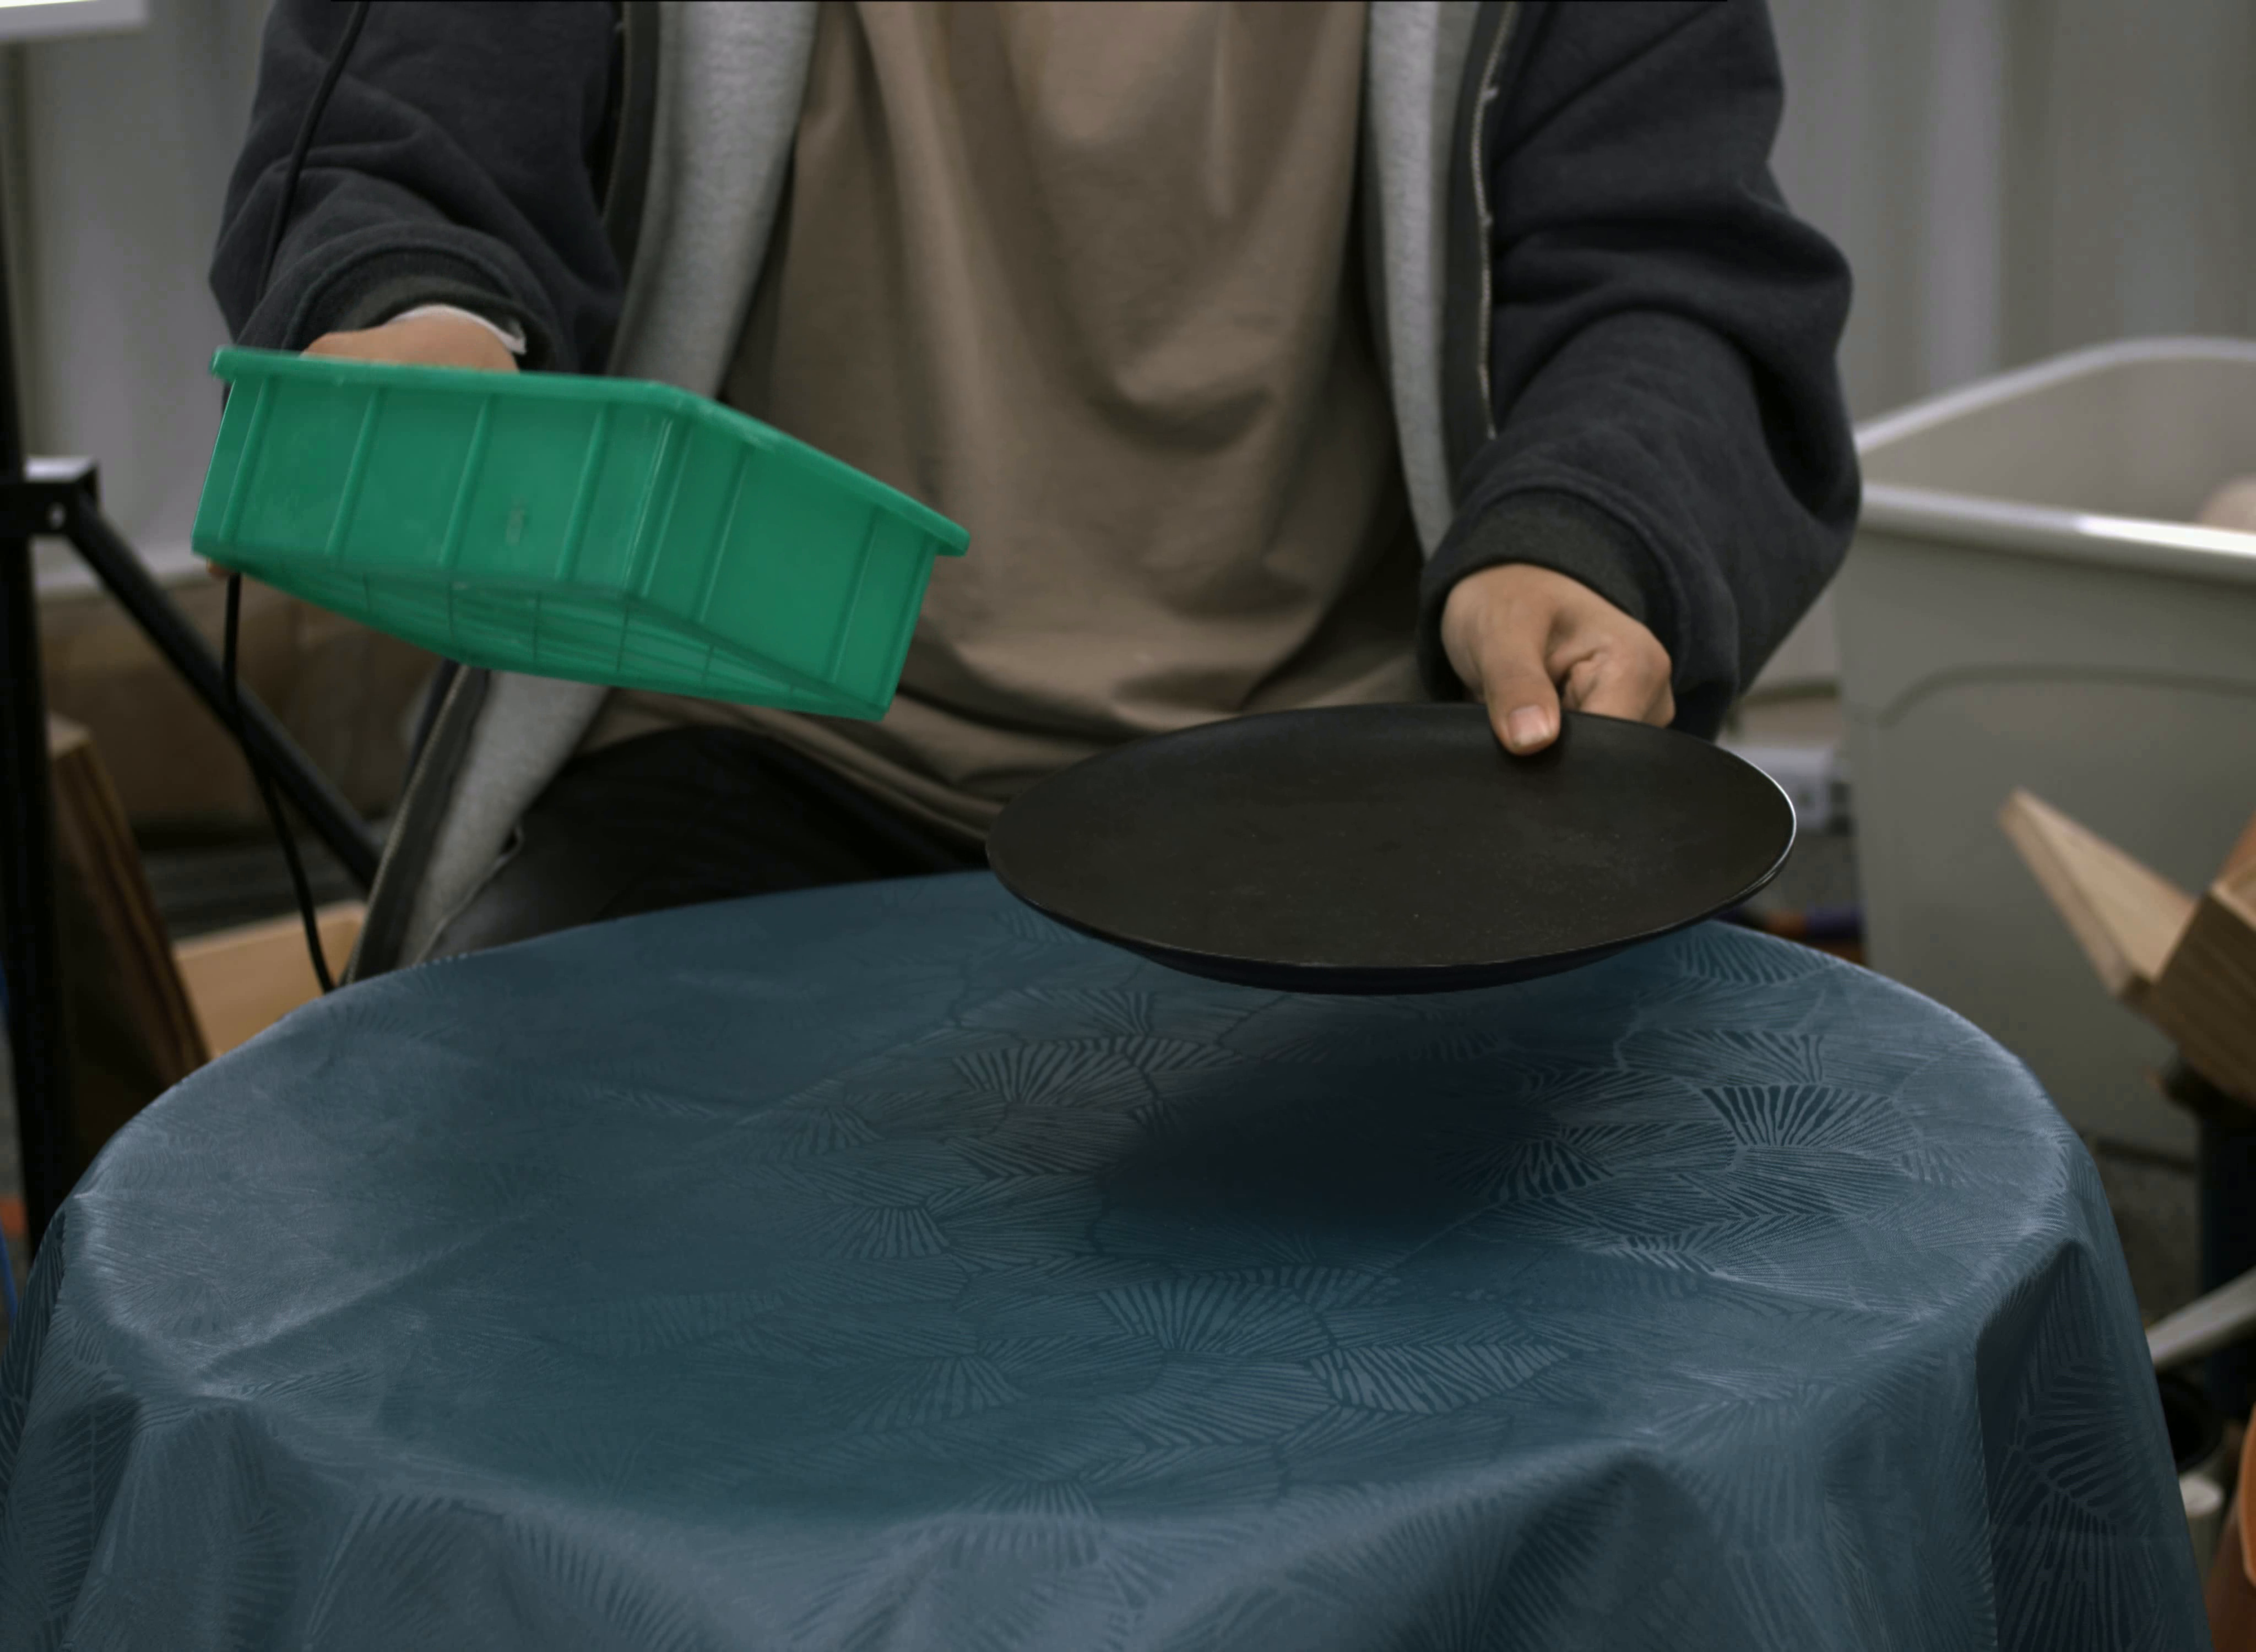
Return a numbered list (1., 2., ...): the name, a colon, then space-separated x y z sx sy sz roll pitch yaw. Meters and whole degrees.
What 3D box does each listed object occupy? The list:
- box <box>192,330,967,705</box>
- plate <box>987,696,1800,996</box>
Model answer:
1. box: -0.165 -0.088 1.555 0.215 0.065 0.135 6 -15 40
2. plate: 0.079 0.009 1.597 0.243 0.023 0.246 -4 19 0
